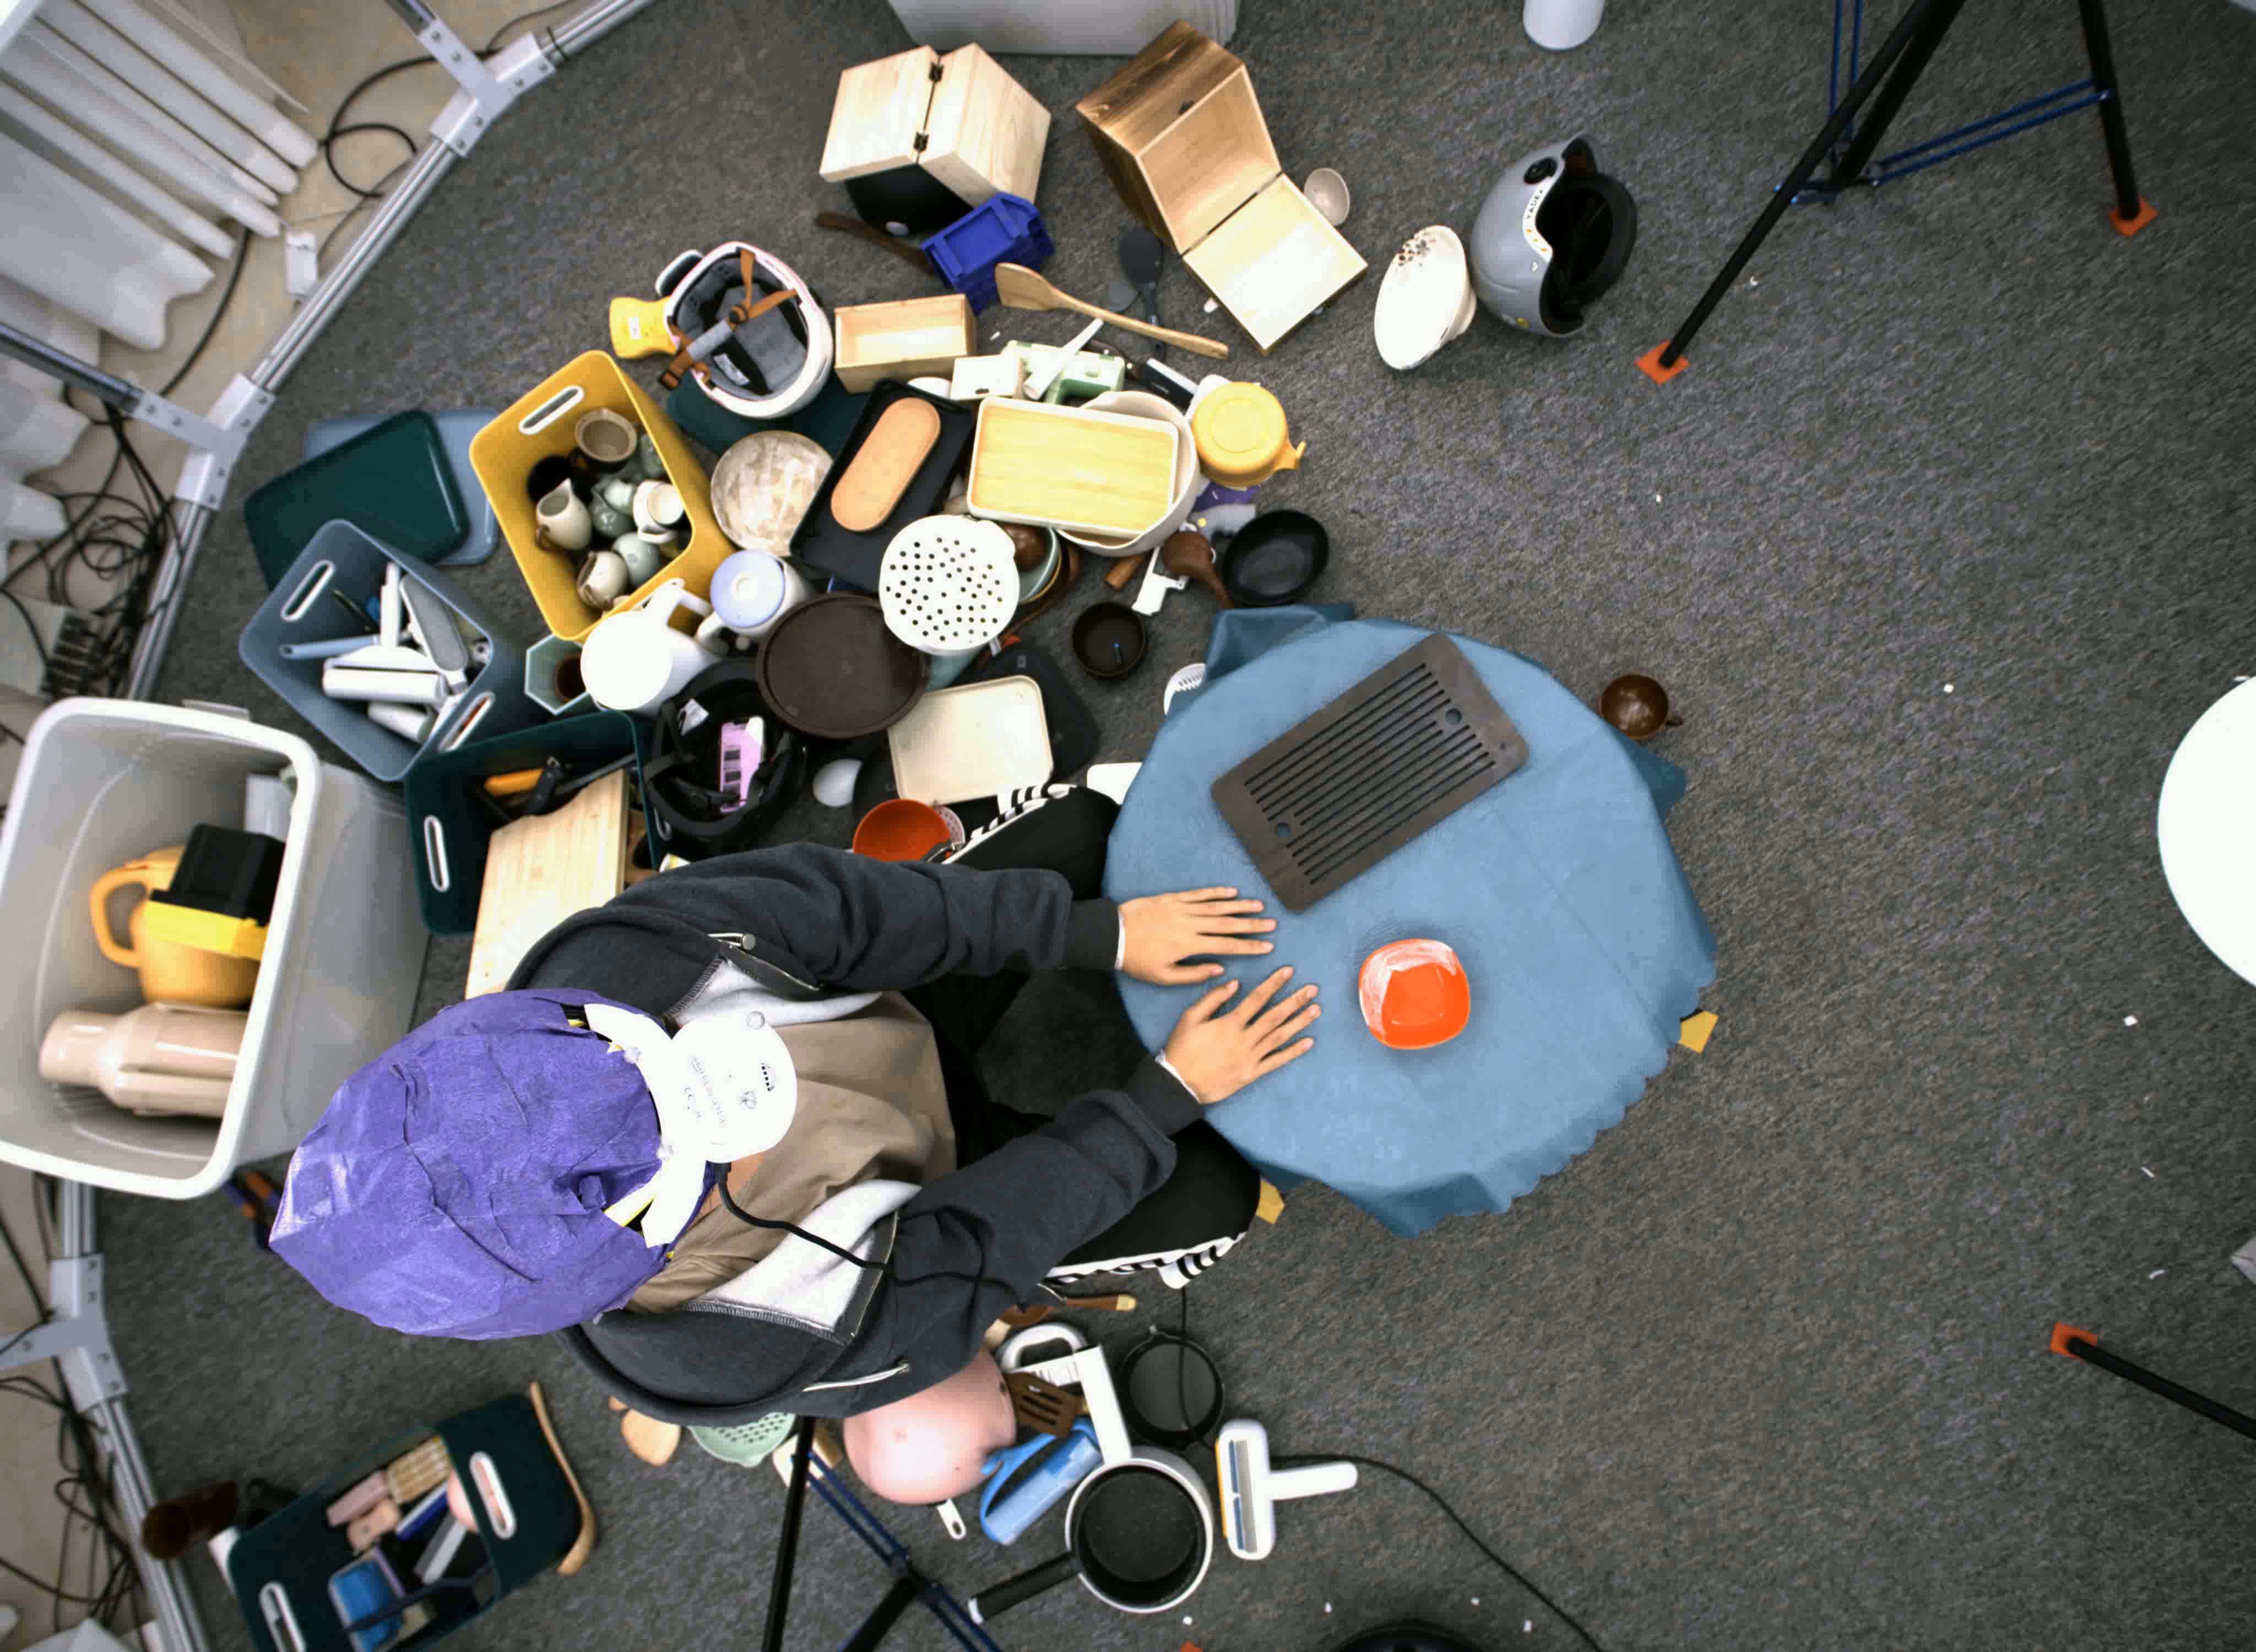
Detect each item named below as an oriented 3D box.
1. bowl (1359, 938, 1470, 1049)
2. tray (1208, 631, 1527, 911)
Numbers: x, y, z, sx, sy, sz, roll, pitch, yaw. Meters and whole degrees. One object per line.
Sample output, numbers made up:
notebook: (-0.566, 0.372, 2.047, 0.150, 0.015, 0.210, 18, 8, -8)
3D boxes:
bowl: (0.293, 0.171, 1.422, 0.119, 0.051, 0.118, -1, 87, 9)
tray: (0.252, -0.059, 1.461, 0.307, 0.018, 0.169, -34, 82, 7)
